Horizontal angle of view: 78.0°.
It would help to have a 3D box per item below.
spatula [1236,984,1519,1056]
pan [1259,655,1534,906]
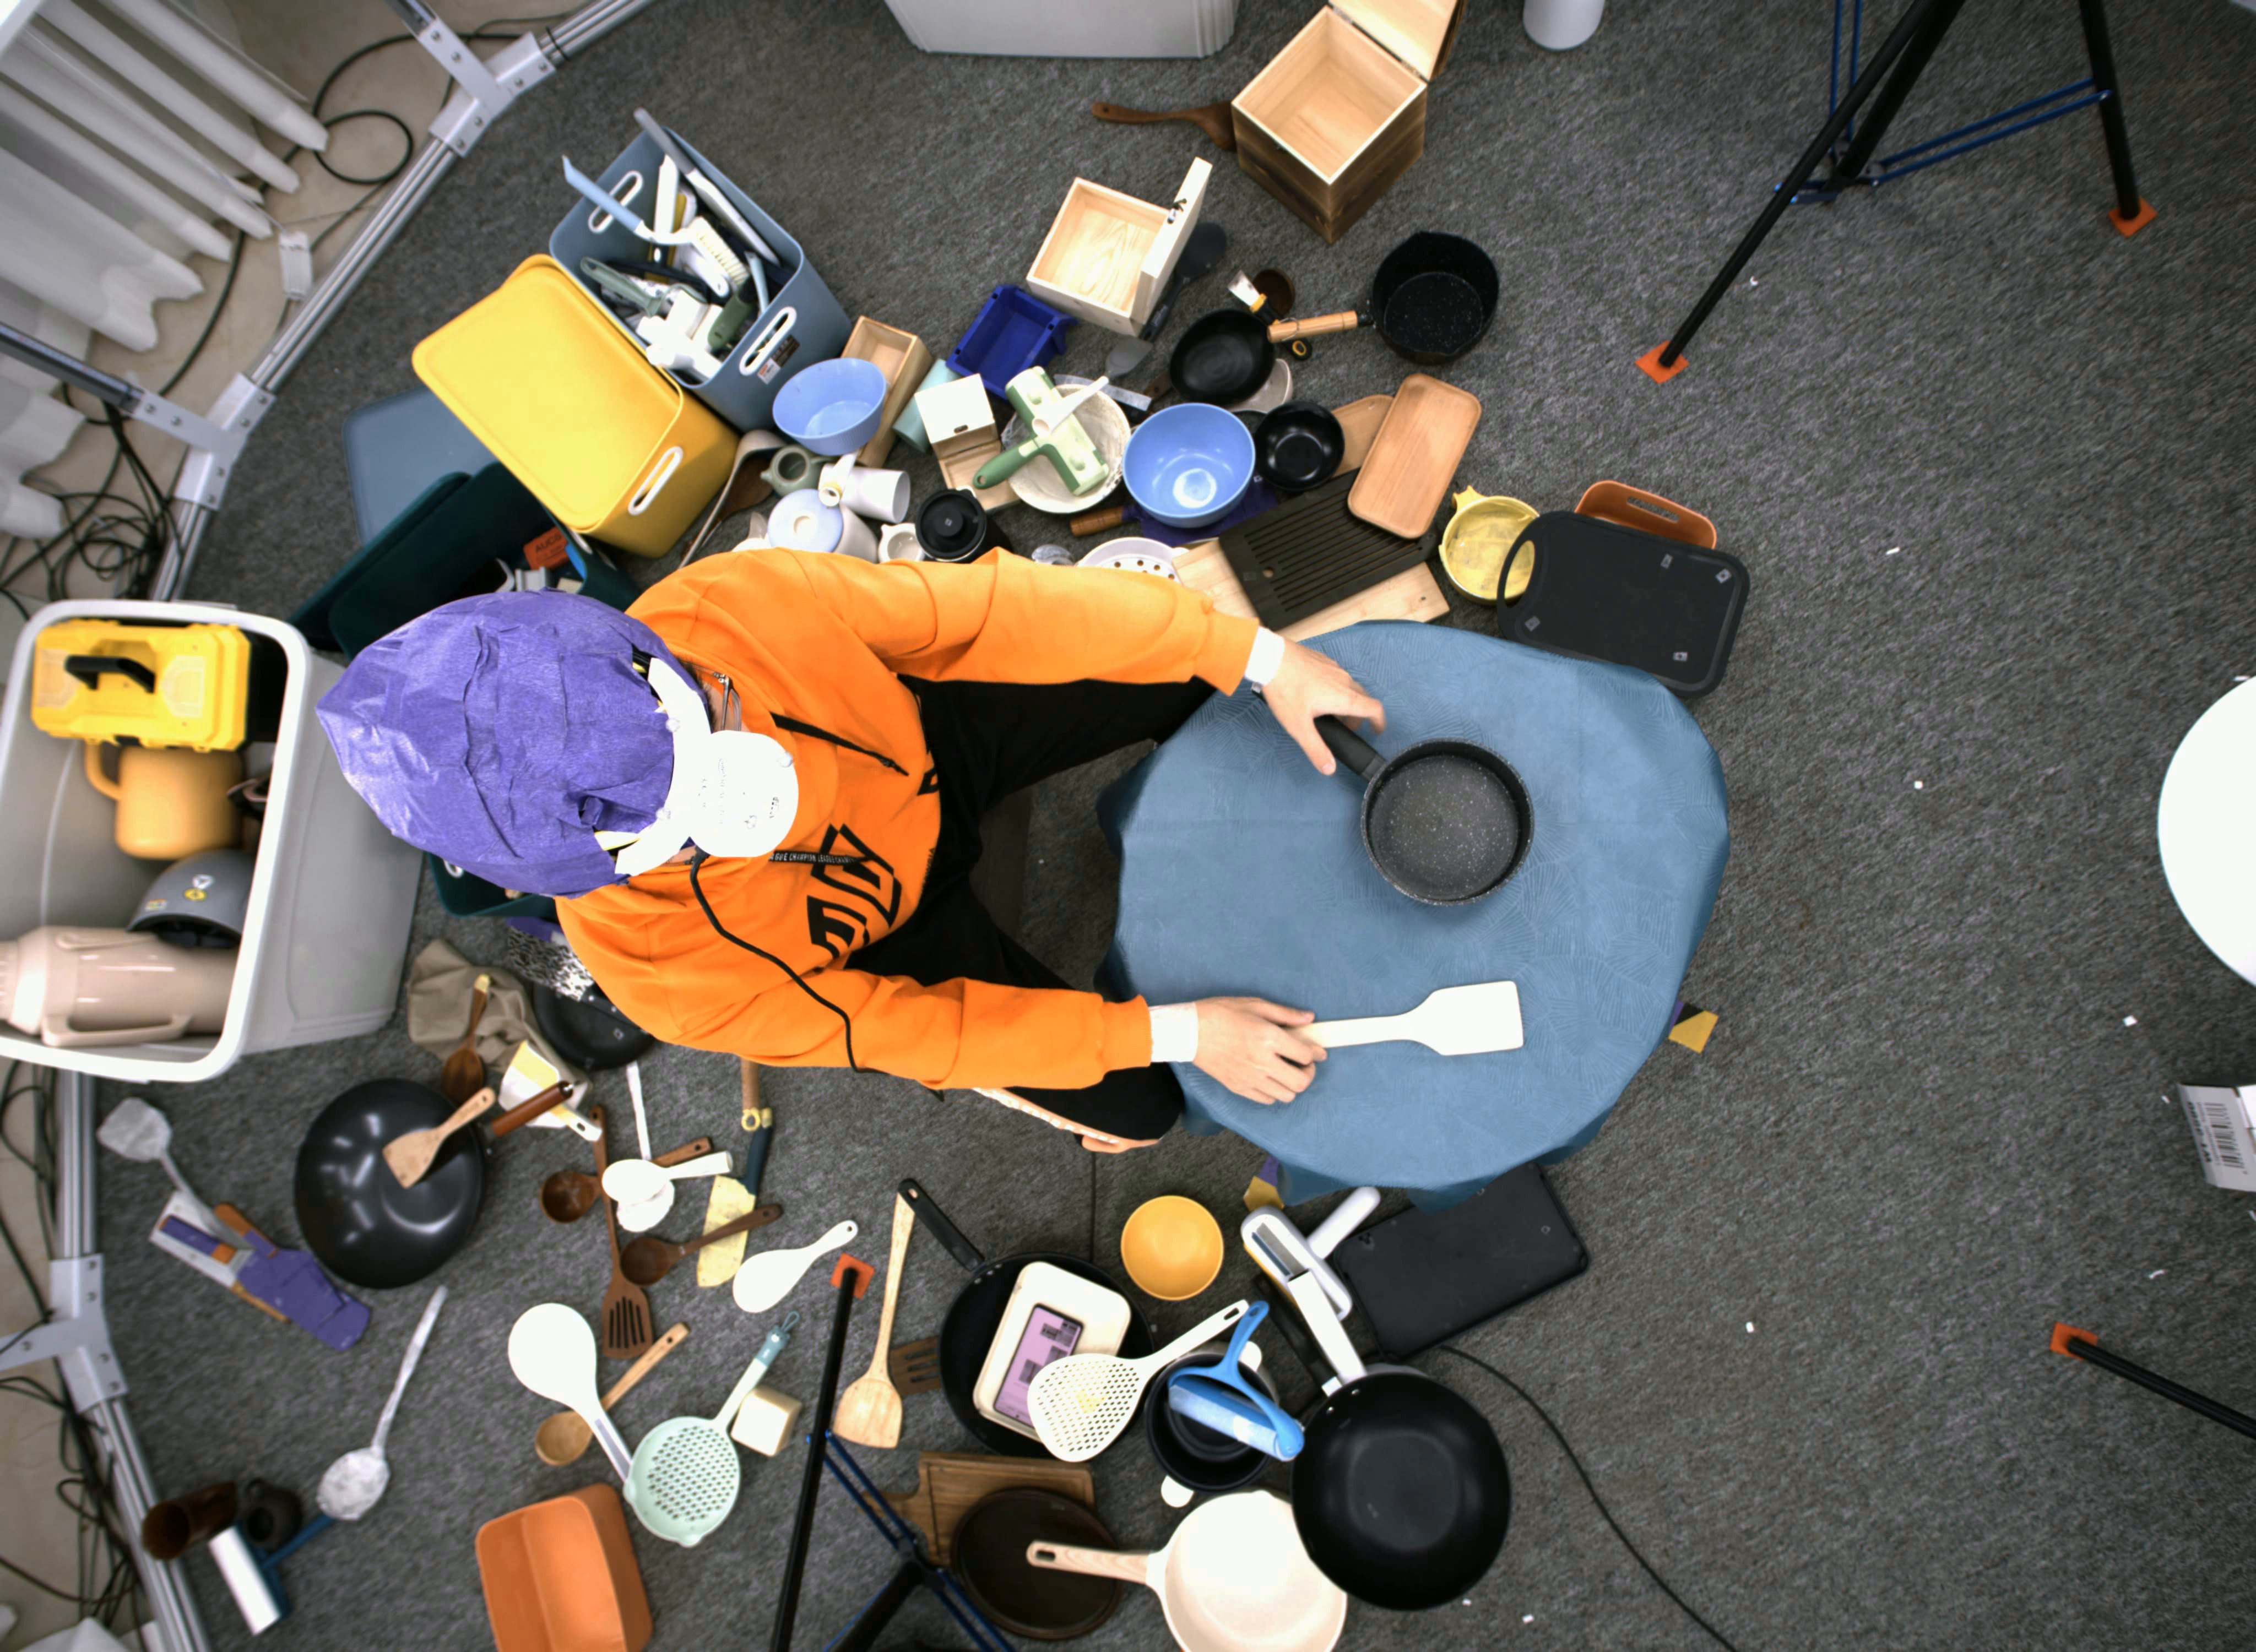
[{"bbox_3d":[0.259,0.211,1.450,0.294,0.010,0.072,-6,90,10],"label":"spatula"},{"bbox_3d":[0.267,-0.055,1.425,0.327,0.086,0.172,42,93,8],"label":"pan"}]
